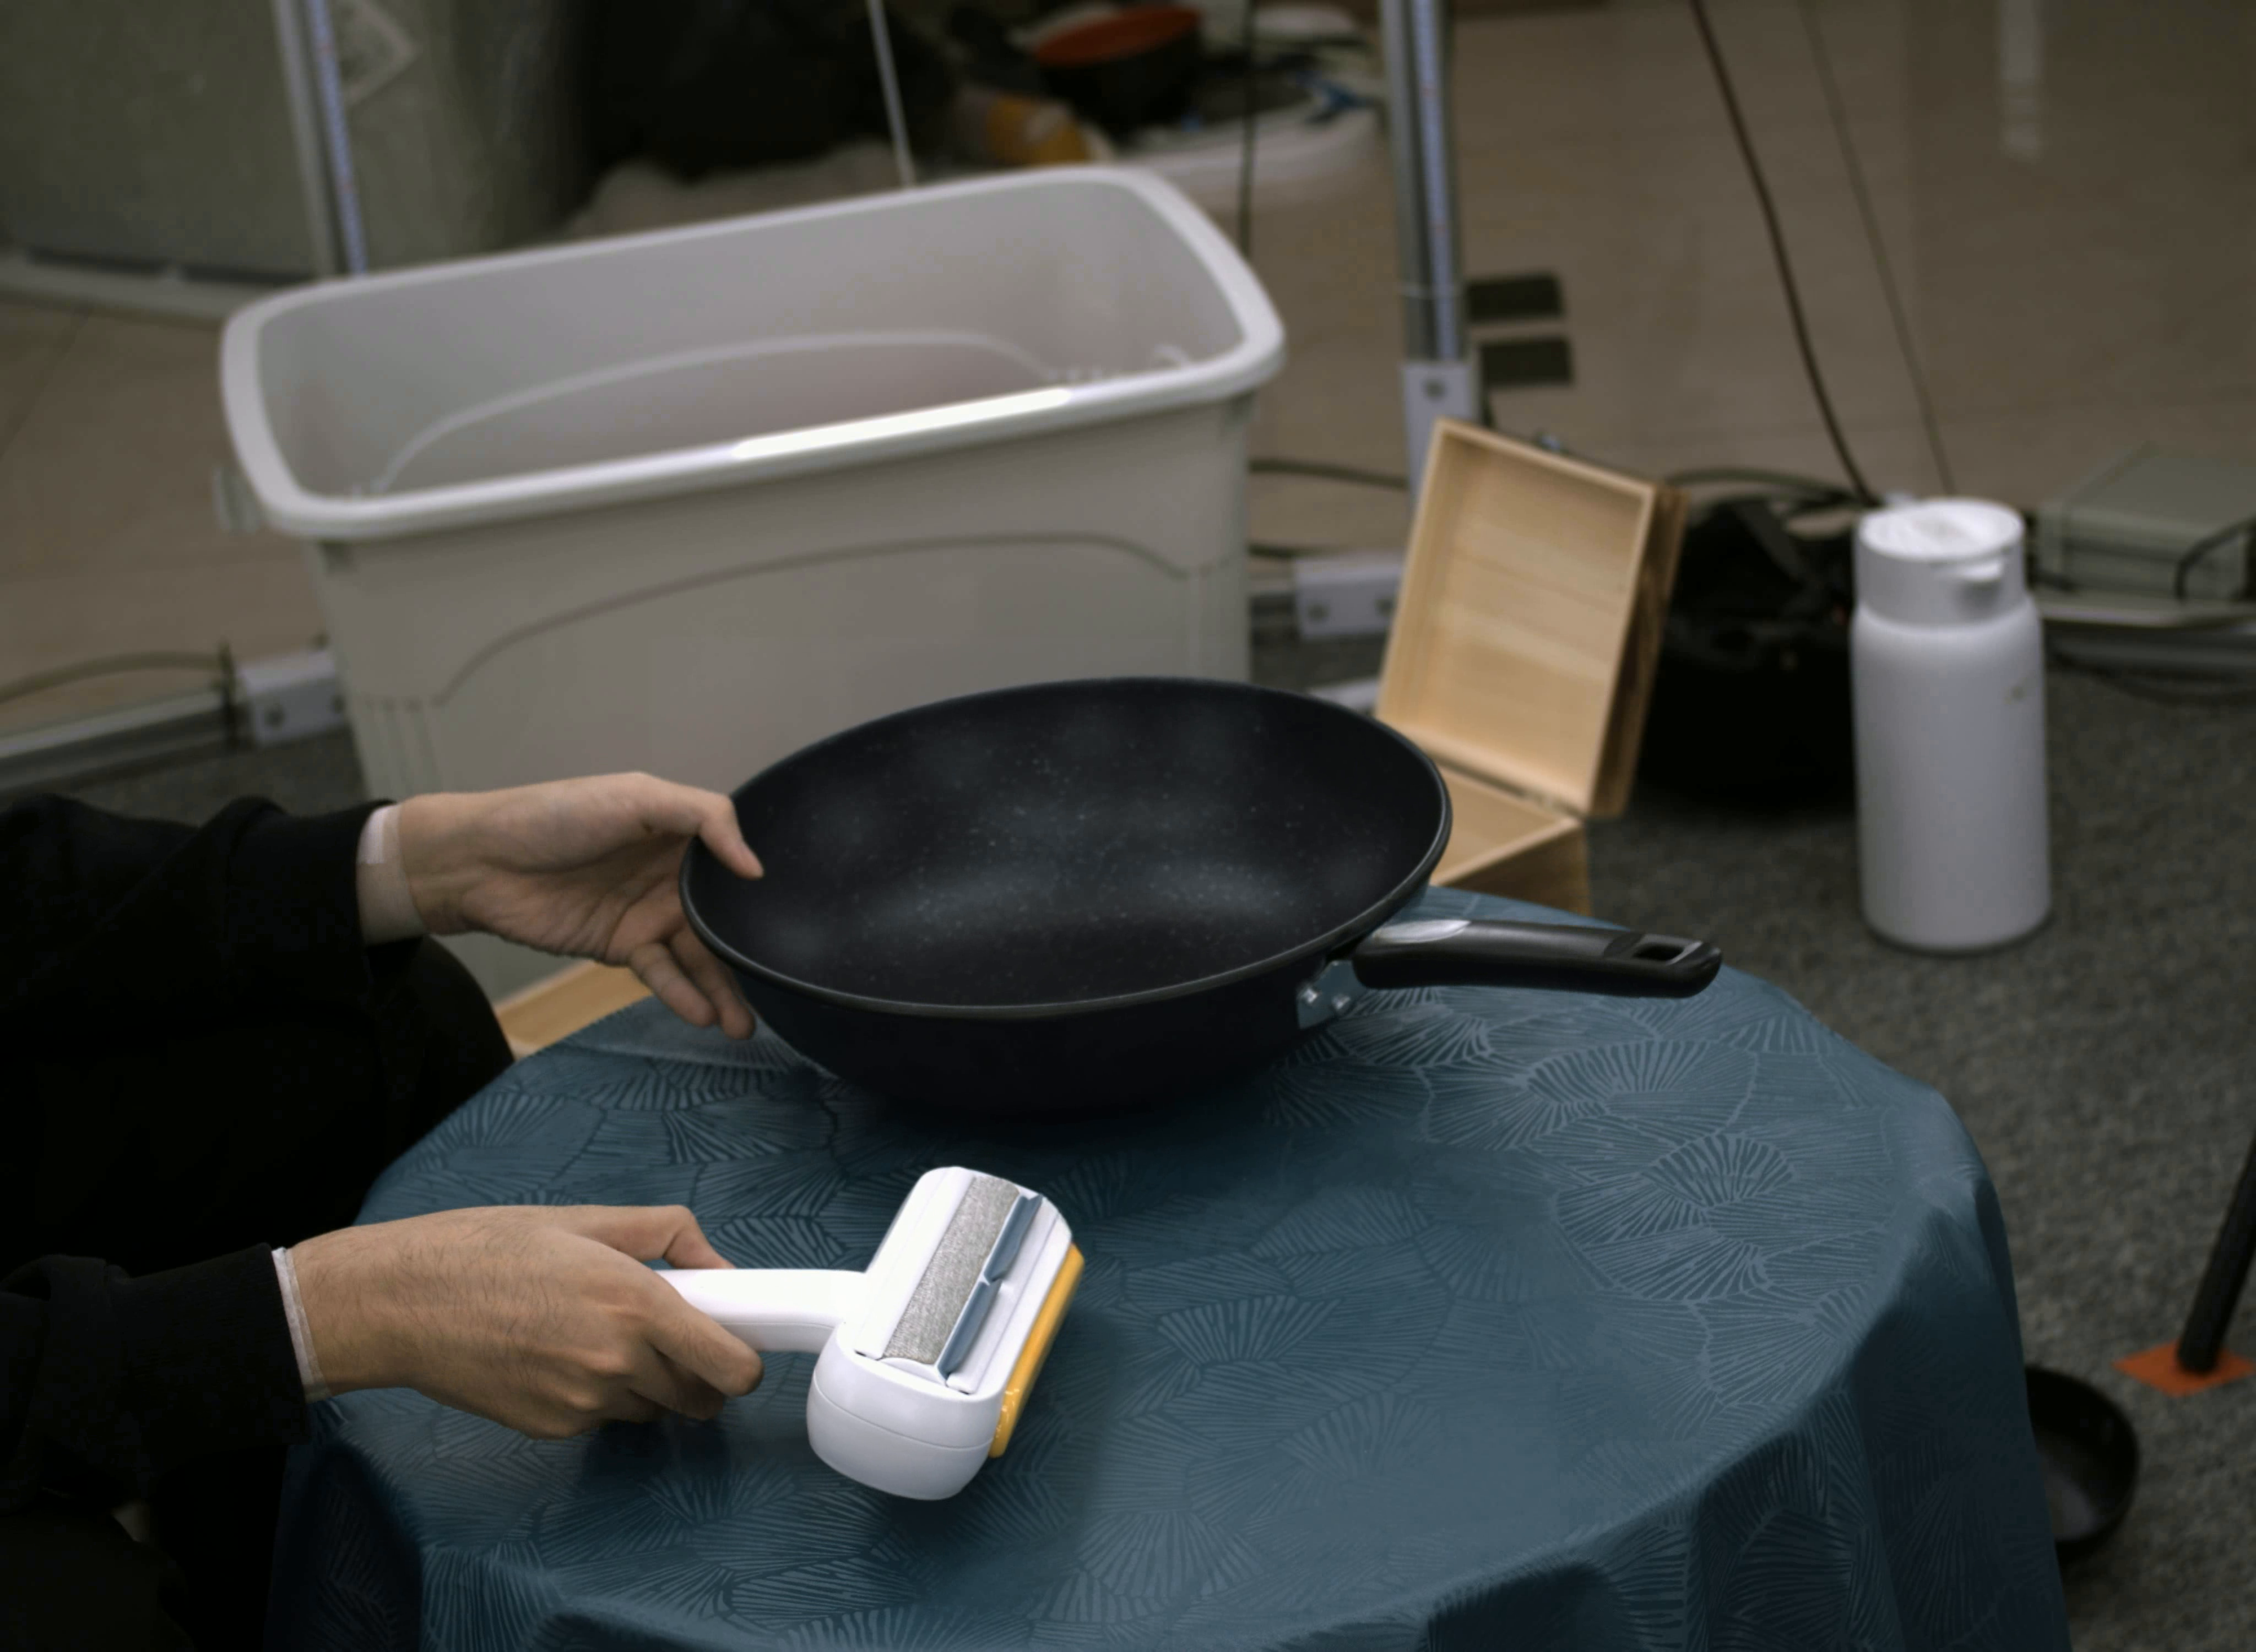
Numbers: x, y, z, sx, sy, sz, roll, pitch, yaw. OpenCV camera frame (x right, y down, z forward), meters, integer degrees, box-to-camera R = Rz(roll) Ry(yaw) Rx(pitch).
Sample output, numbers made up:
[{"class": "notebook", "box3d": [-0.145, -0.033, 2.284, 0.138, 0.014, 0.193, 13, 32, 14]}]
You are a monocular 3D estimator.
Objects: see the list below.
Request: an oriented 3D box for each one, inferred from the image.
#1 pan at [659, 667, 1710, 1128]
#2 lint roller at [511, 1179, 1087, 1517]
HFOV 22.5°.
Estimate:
[{"class": "pan", "box3d": [0.033, 0.047, 2.203, 0.473, 0.113, 0.307, 16, 35, 39]}, {"class": "lint roller", "box3d": [-0.123, 0.172, 1.992, 0.192, 0.075, 0.190, 13, 25, 9]}]
